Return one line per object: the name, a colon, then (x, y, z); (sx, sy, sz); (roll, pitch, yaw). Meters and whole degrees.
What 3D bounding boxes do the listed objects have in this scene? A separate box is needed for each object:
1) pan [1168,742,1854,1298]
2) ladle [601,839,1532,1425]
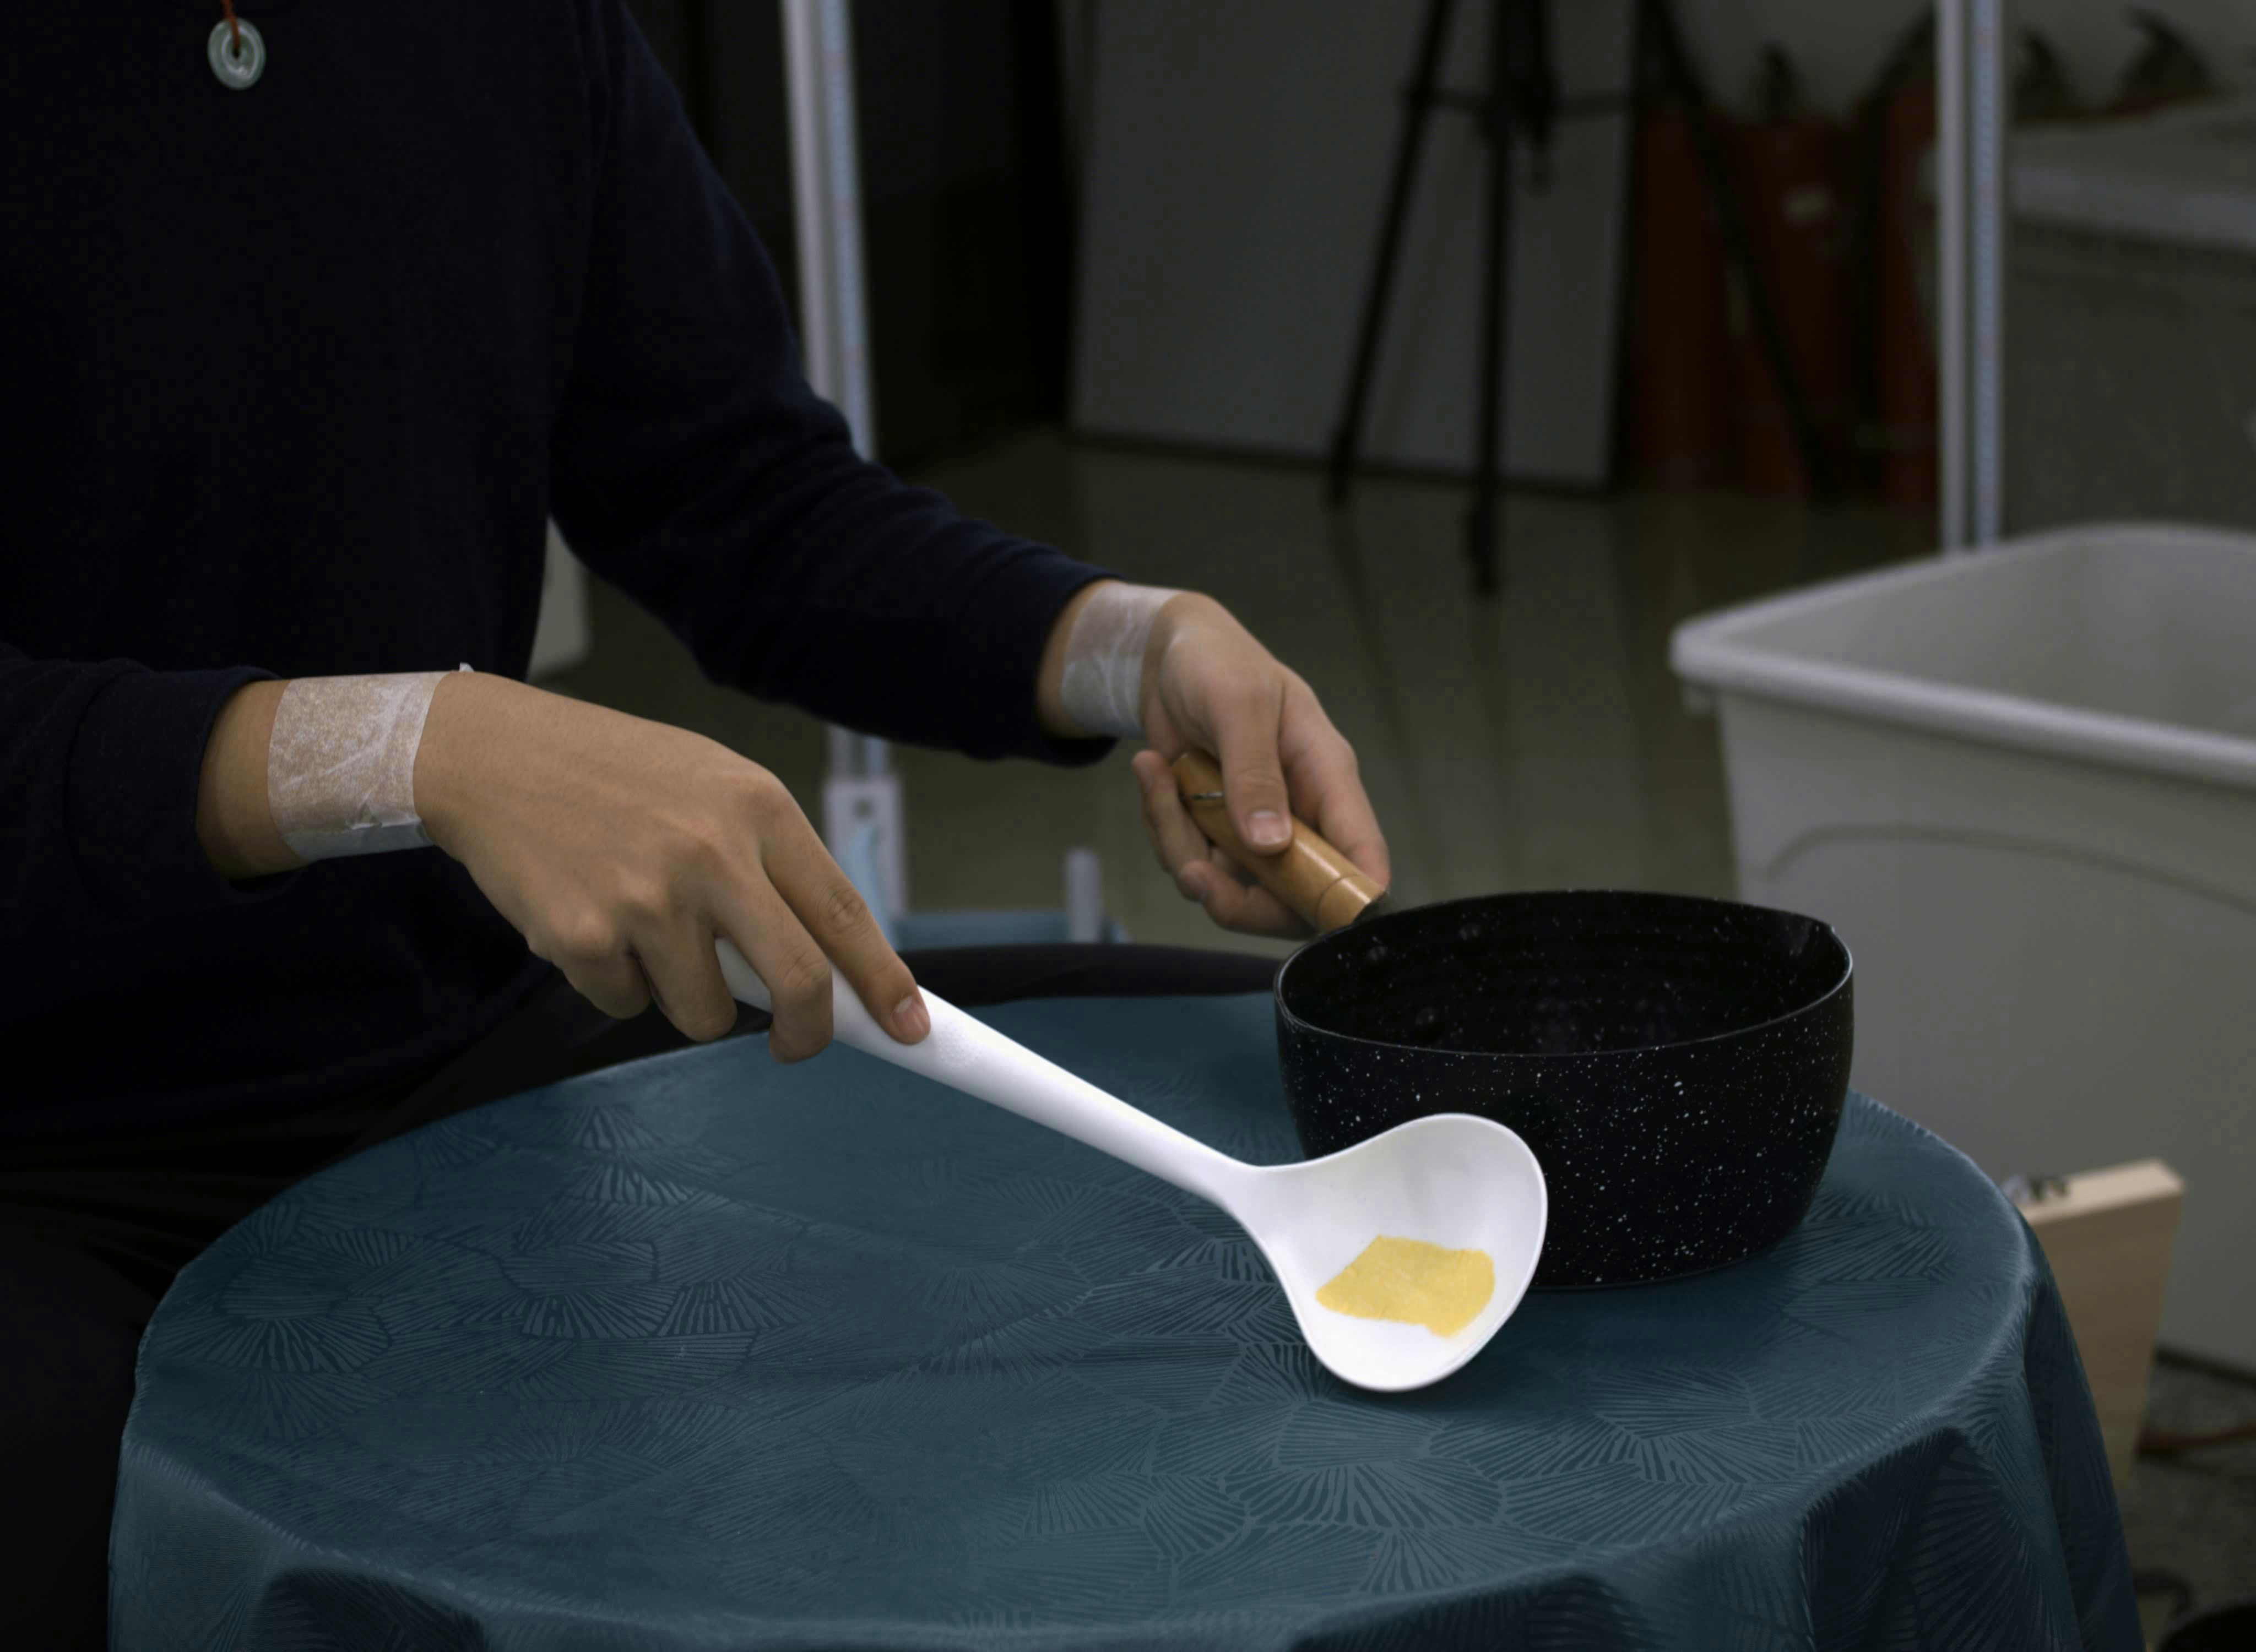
pan: (0.101, 0.058, 1.771); (0.203, 0.109, 0.346); (-12, 17, -26)
ladle: (-0.021, 0.080, 1.585); (0.291, 0.090, 0.070); (27, -9, 1)
